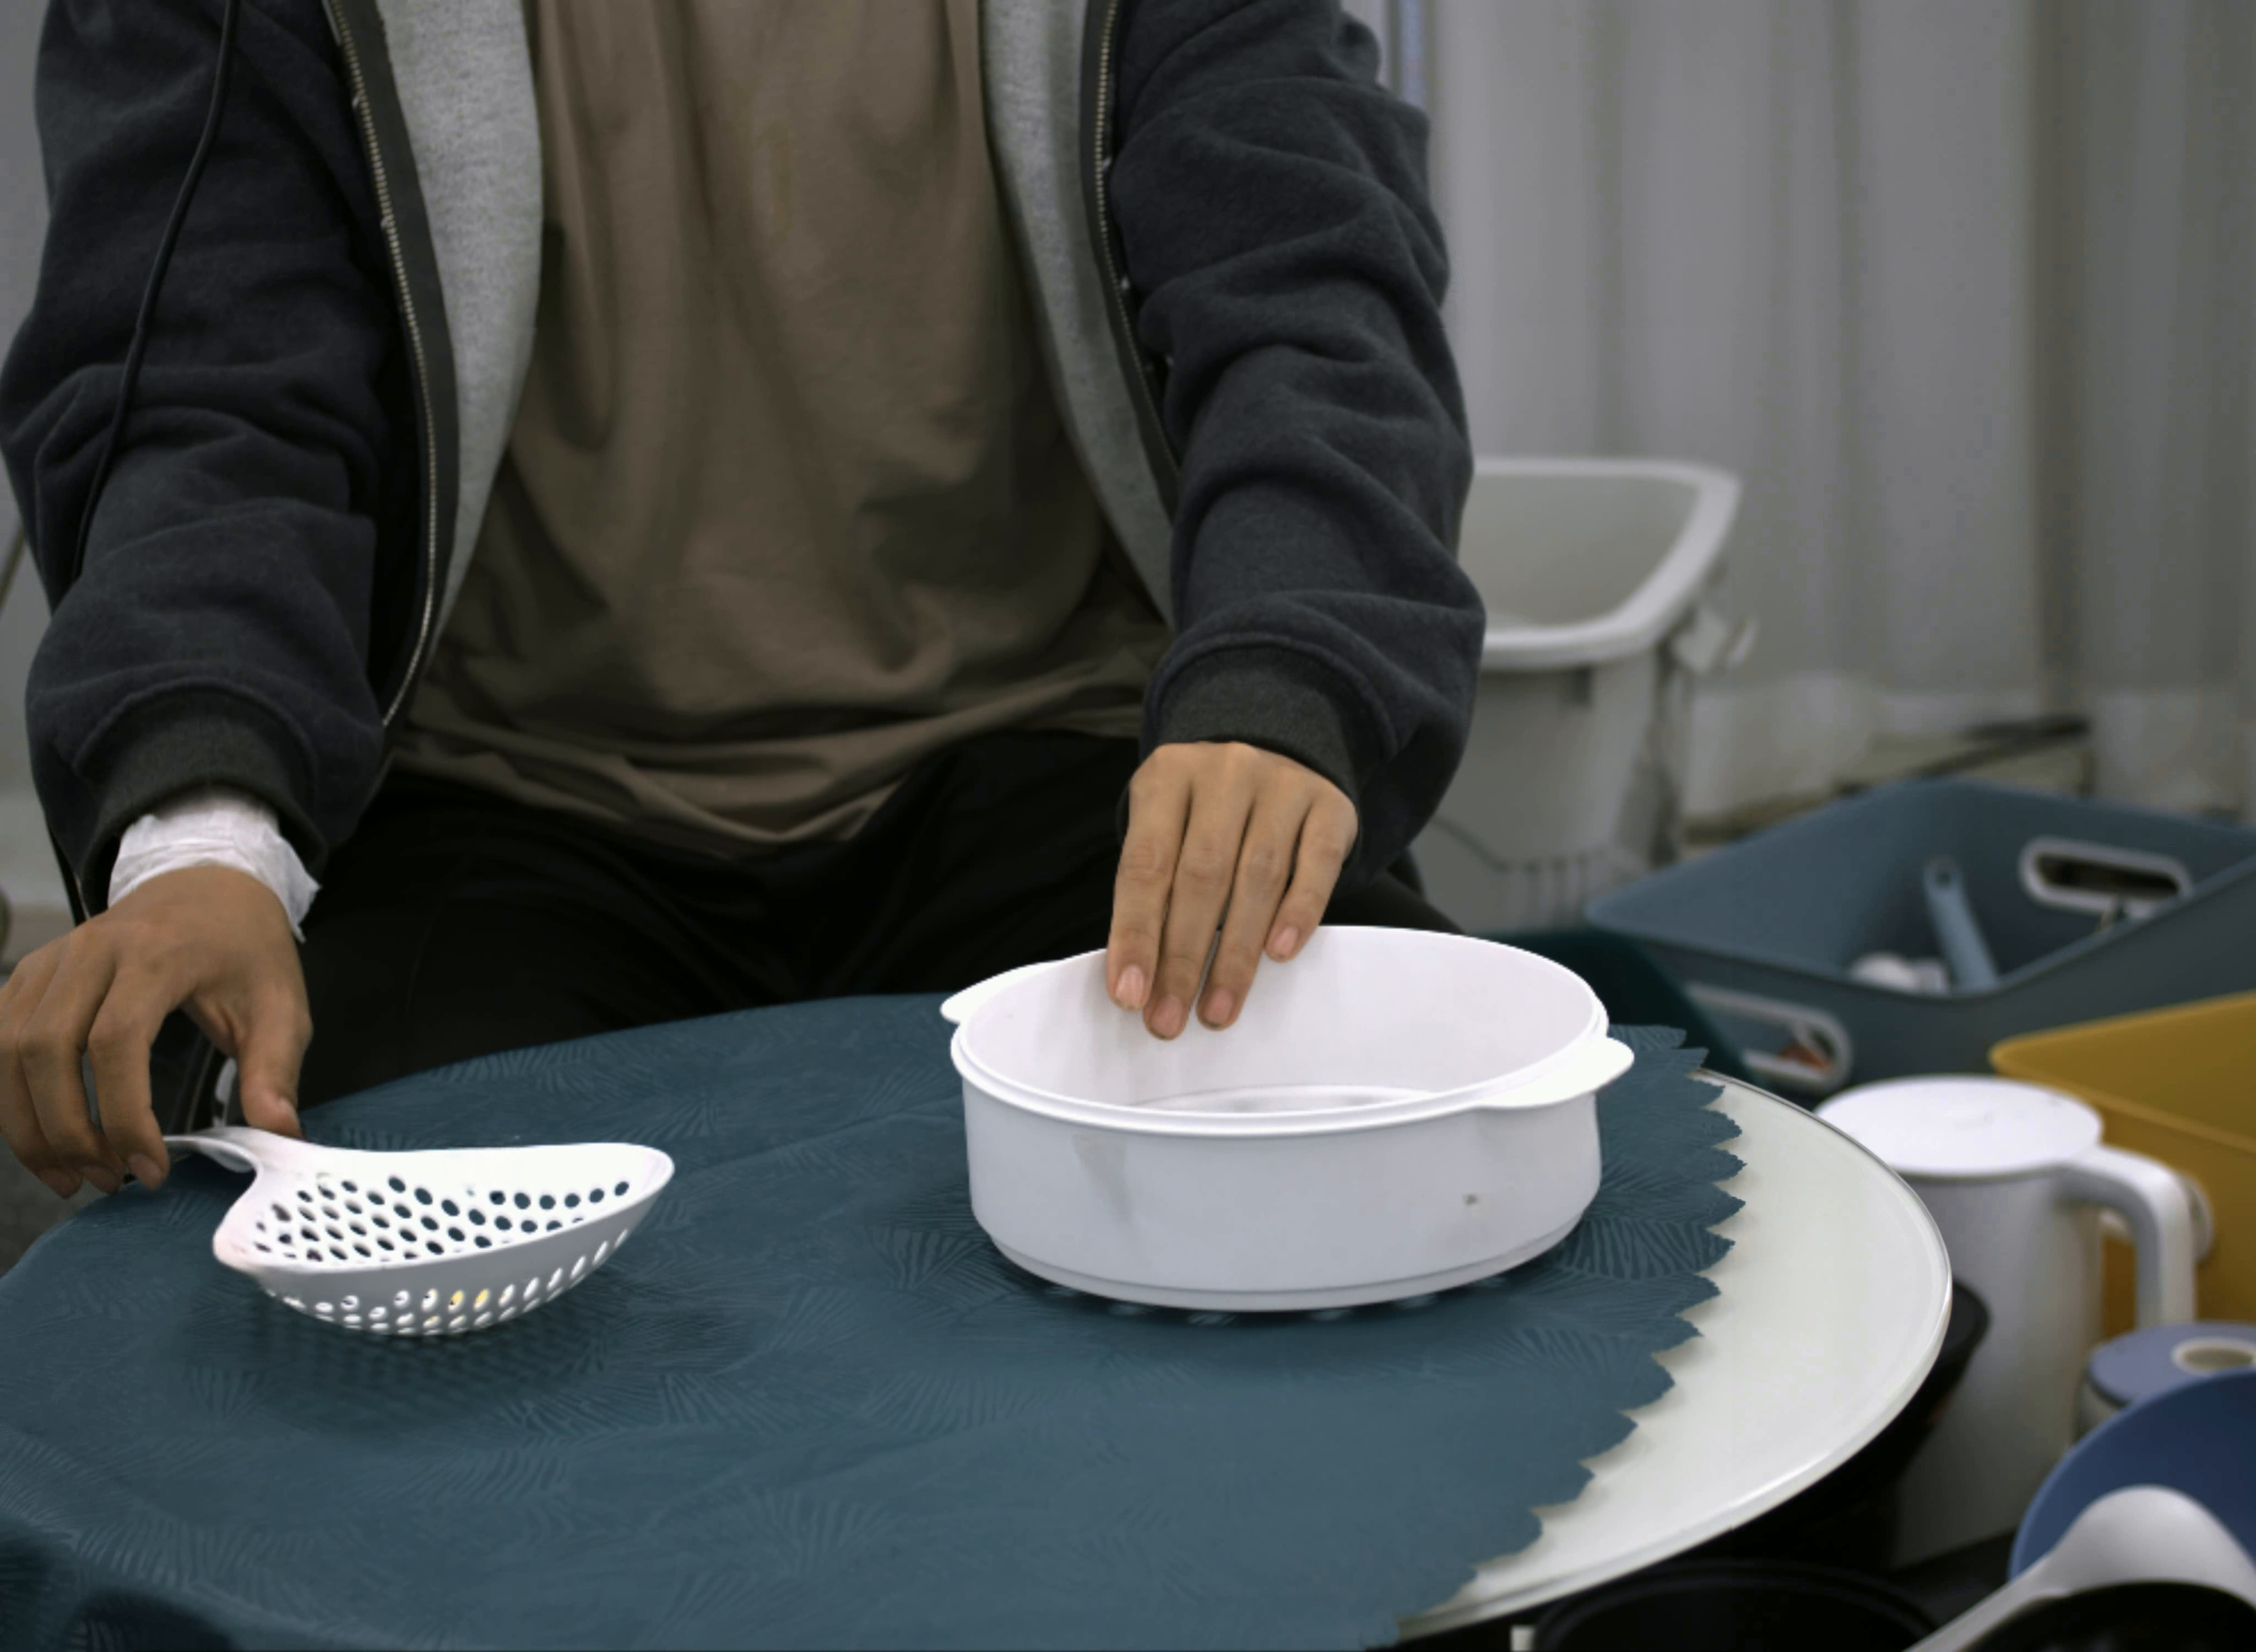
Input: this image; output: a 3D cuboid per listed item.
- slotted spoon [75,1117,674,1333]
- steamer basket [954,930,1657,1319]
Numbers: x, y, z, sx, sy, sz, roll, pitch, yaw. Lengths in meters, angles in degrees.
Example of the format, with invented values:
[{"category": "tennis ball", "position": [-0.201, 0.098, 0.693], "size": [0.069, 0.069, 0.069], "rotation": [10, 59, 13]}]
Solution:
[{"category": "slotted spoon", "position": [-0.257, 0.117, 1.714], "size": [0.136, 0.050, 0.349], "rotation": [-18, 15, -29]}, {"category": "steamer basket", "position": [0.052, 0.090, 1.668], "size": [0.231, 0.069, 0.202], "rotation": [9, 18, 33]}]
